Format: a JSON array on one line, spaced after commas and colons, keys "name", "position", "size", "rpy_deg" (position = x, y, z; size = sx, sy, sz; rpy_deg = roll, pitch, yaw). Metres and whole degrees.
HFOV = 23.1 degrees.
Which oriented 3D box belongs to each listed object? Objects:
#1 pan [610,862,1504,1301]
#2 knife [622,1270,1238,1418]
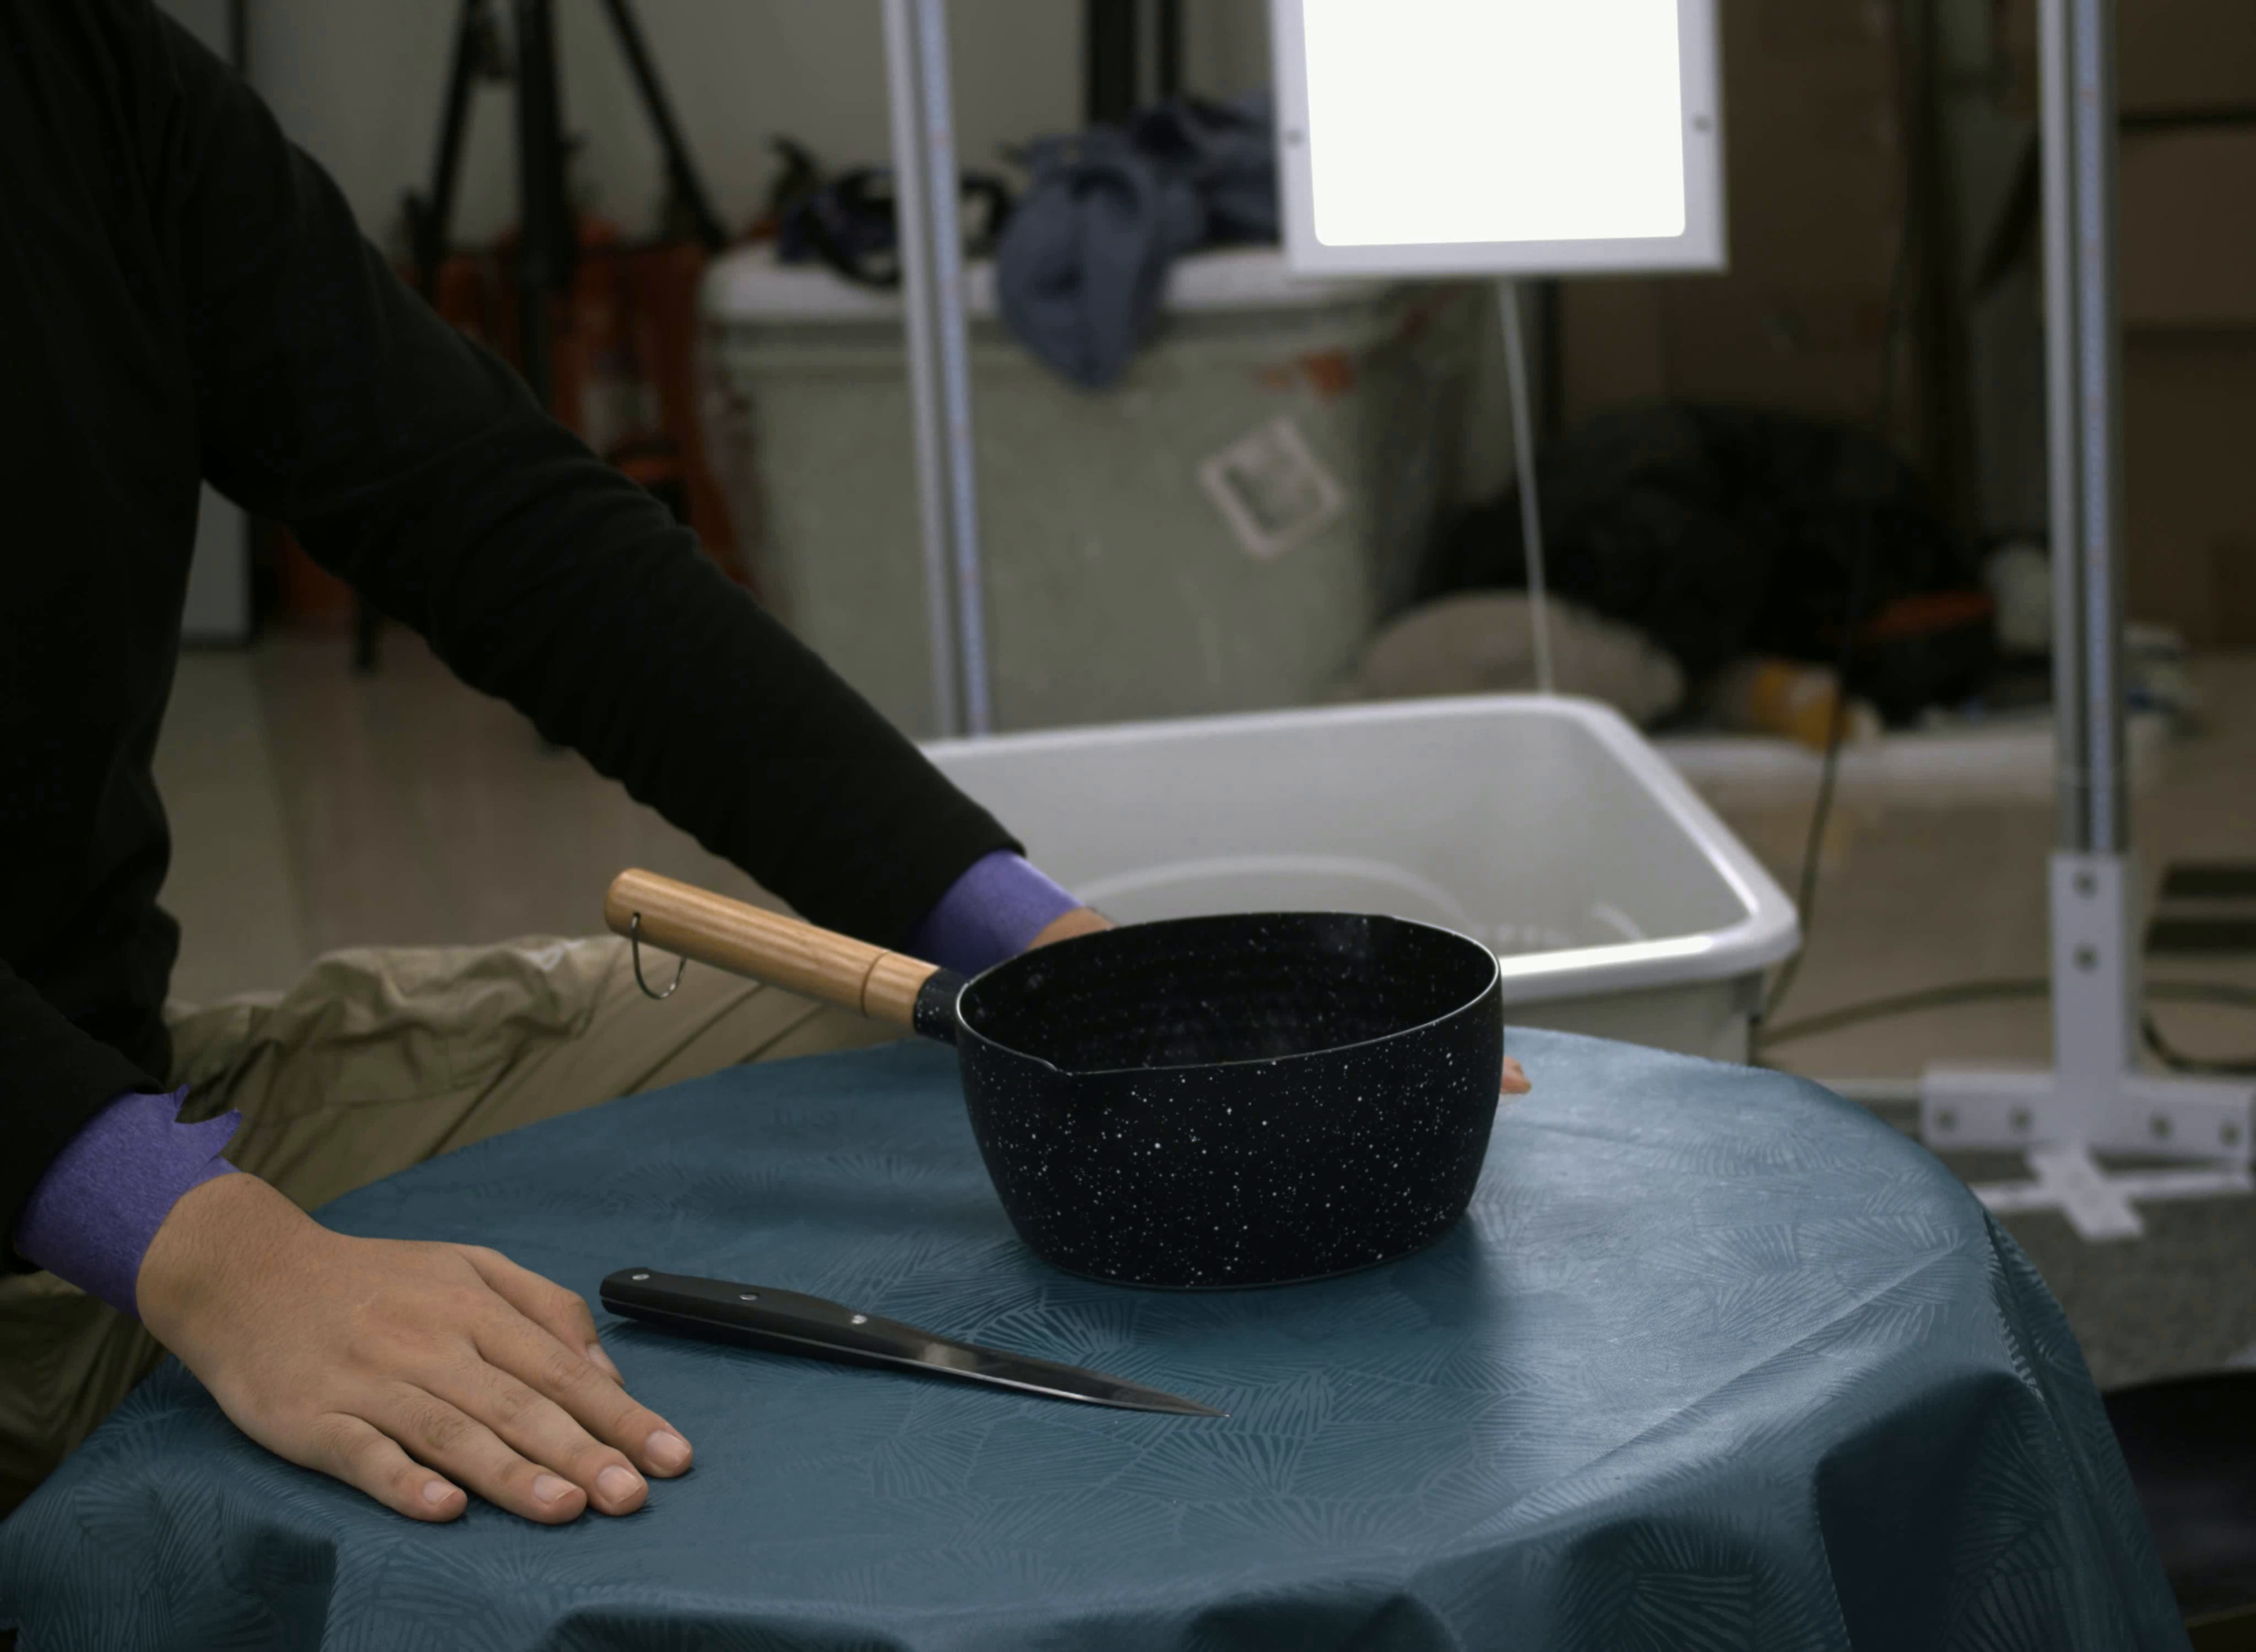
[{"name": "pan", "position": [-0.034, 0.079, 1.885], "size": [0.349, 0.108, 0.203], "rpy_deg": [5, 17, 31]}, {"name": "knife", "position": [-0.067, 0.166, 1.741], "size": [0.243, 0.016, 0.024], "rpy_deg": [8, 17, 34]}]
